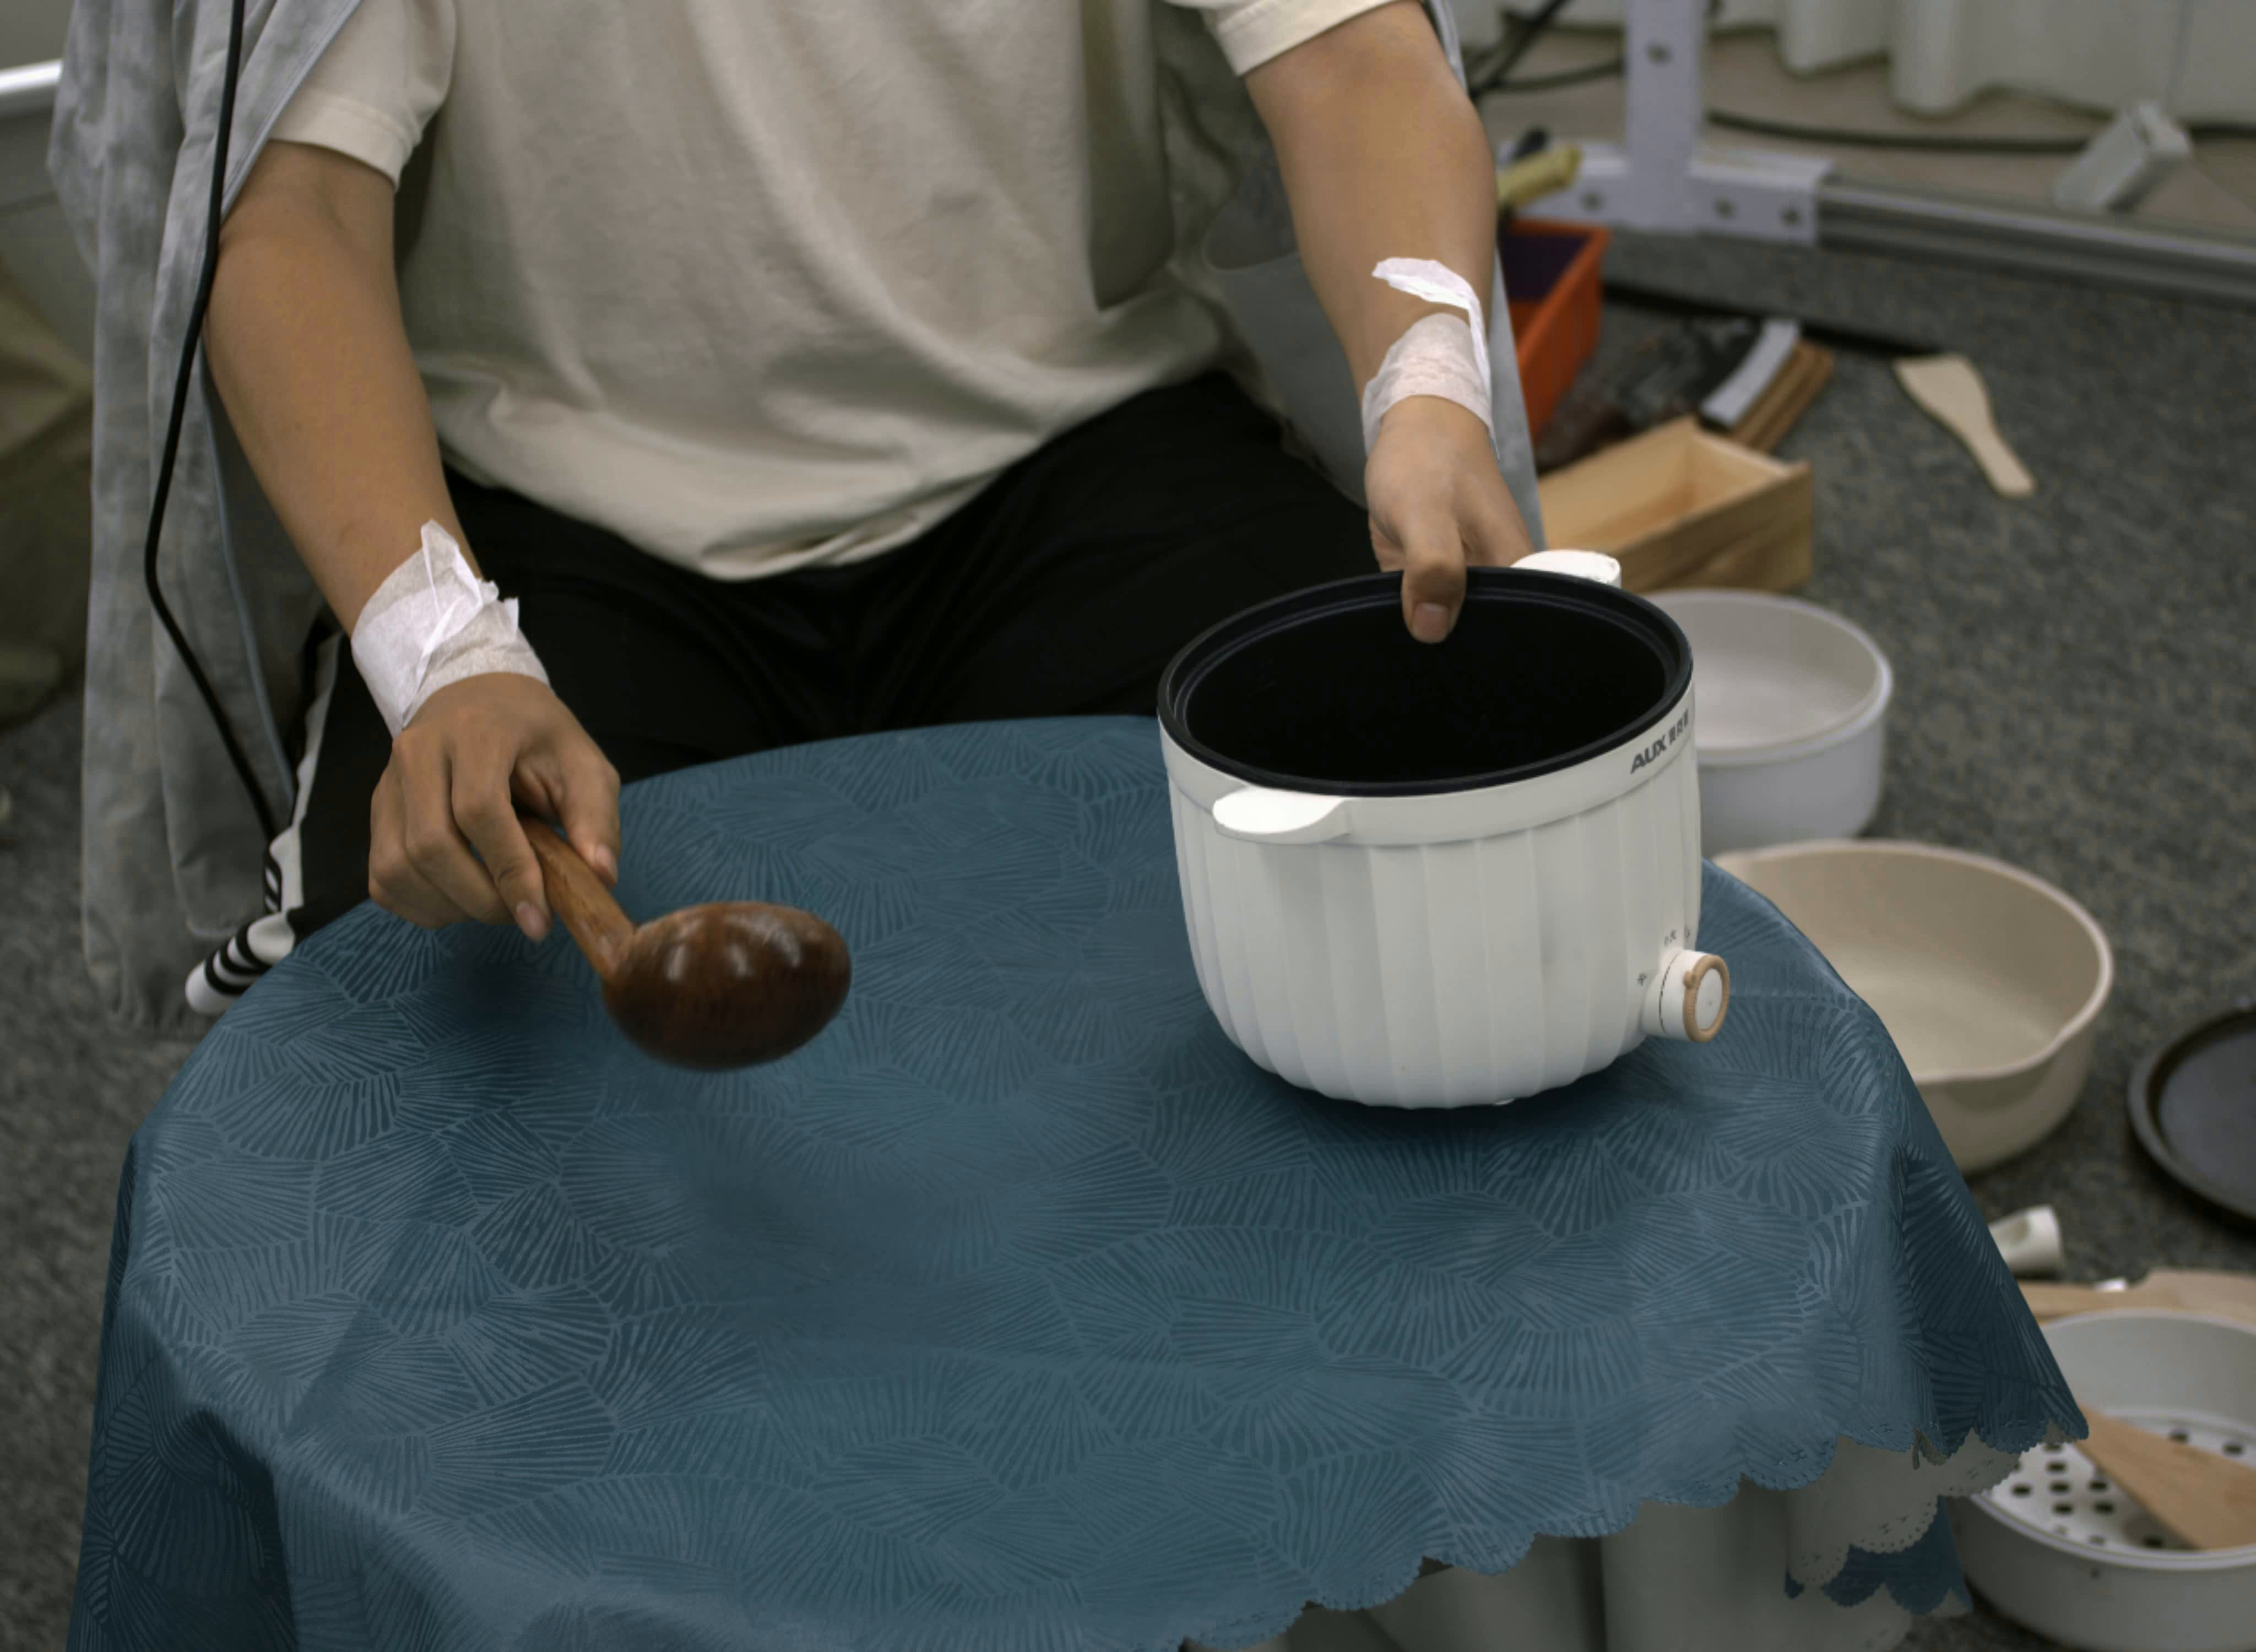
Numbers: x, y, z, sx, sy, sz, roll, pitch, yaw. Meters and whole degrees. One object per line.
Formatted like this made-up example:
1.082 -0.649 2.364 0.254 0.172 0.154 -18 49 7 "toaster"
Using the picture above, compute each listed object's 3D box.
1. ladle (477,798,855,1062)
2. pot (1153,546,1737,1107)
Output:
-0.167 0.012 1.889 0.082 0.076 0.275 17 12 -26 "ladle"
0.111 0.007 1.912 0.189 0.141 0.244 5 27 32 "pot"
